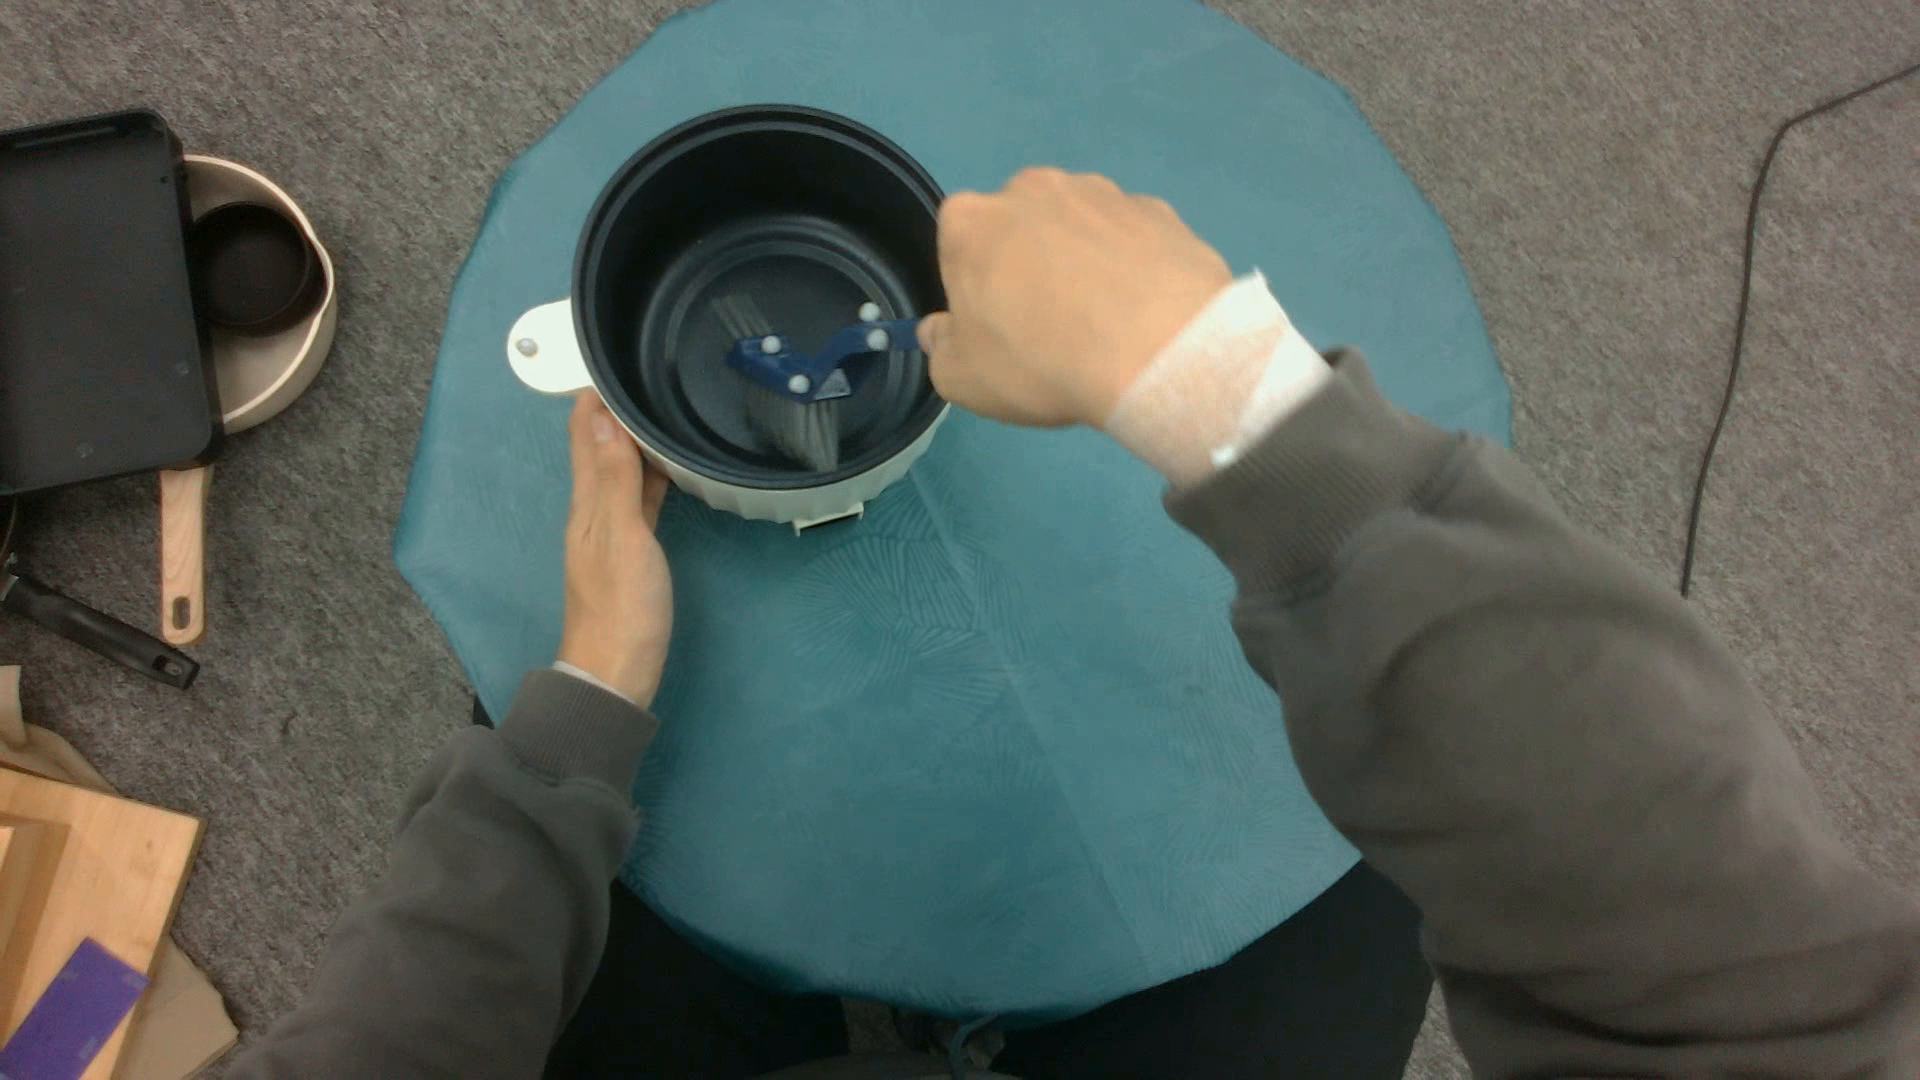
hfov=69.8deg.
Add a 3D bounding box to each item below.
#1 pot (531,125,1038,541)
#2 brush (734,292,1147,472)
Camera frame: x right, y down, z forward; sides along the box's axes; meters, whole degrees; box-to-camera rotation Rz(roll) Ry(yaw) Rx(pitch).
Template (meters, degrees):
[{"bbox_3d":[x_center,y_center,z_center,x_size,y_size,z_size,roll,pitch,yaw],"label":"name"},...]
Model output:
[{"bbox_3d":[-0.087,-0.101,0.697,0.241,0.142,0.190,-16,86,-10],"label":"pot"},{"bbox_3d":[-0.027,-0.084,0.573,0.033,0.272,0.095,-9,91,-34],"label":"brush"}]
